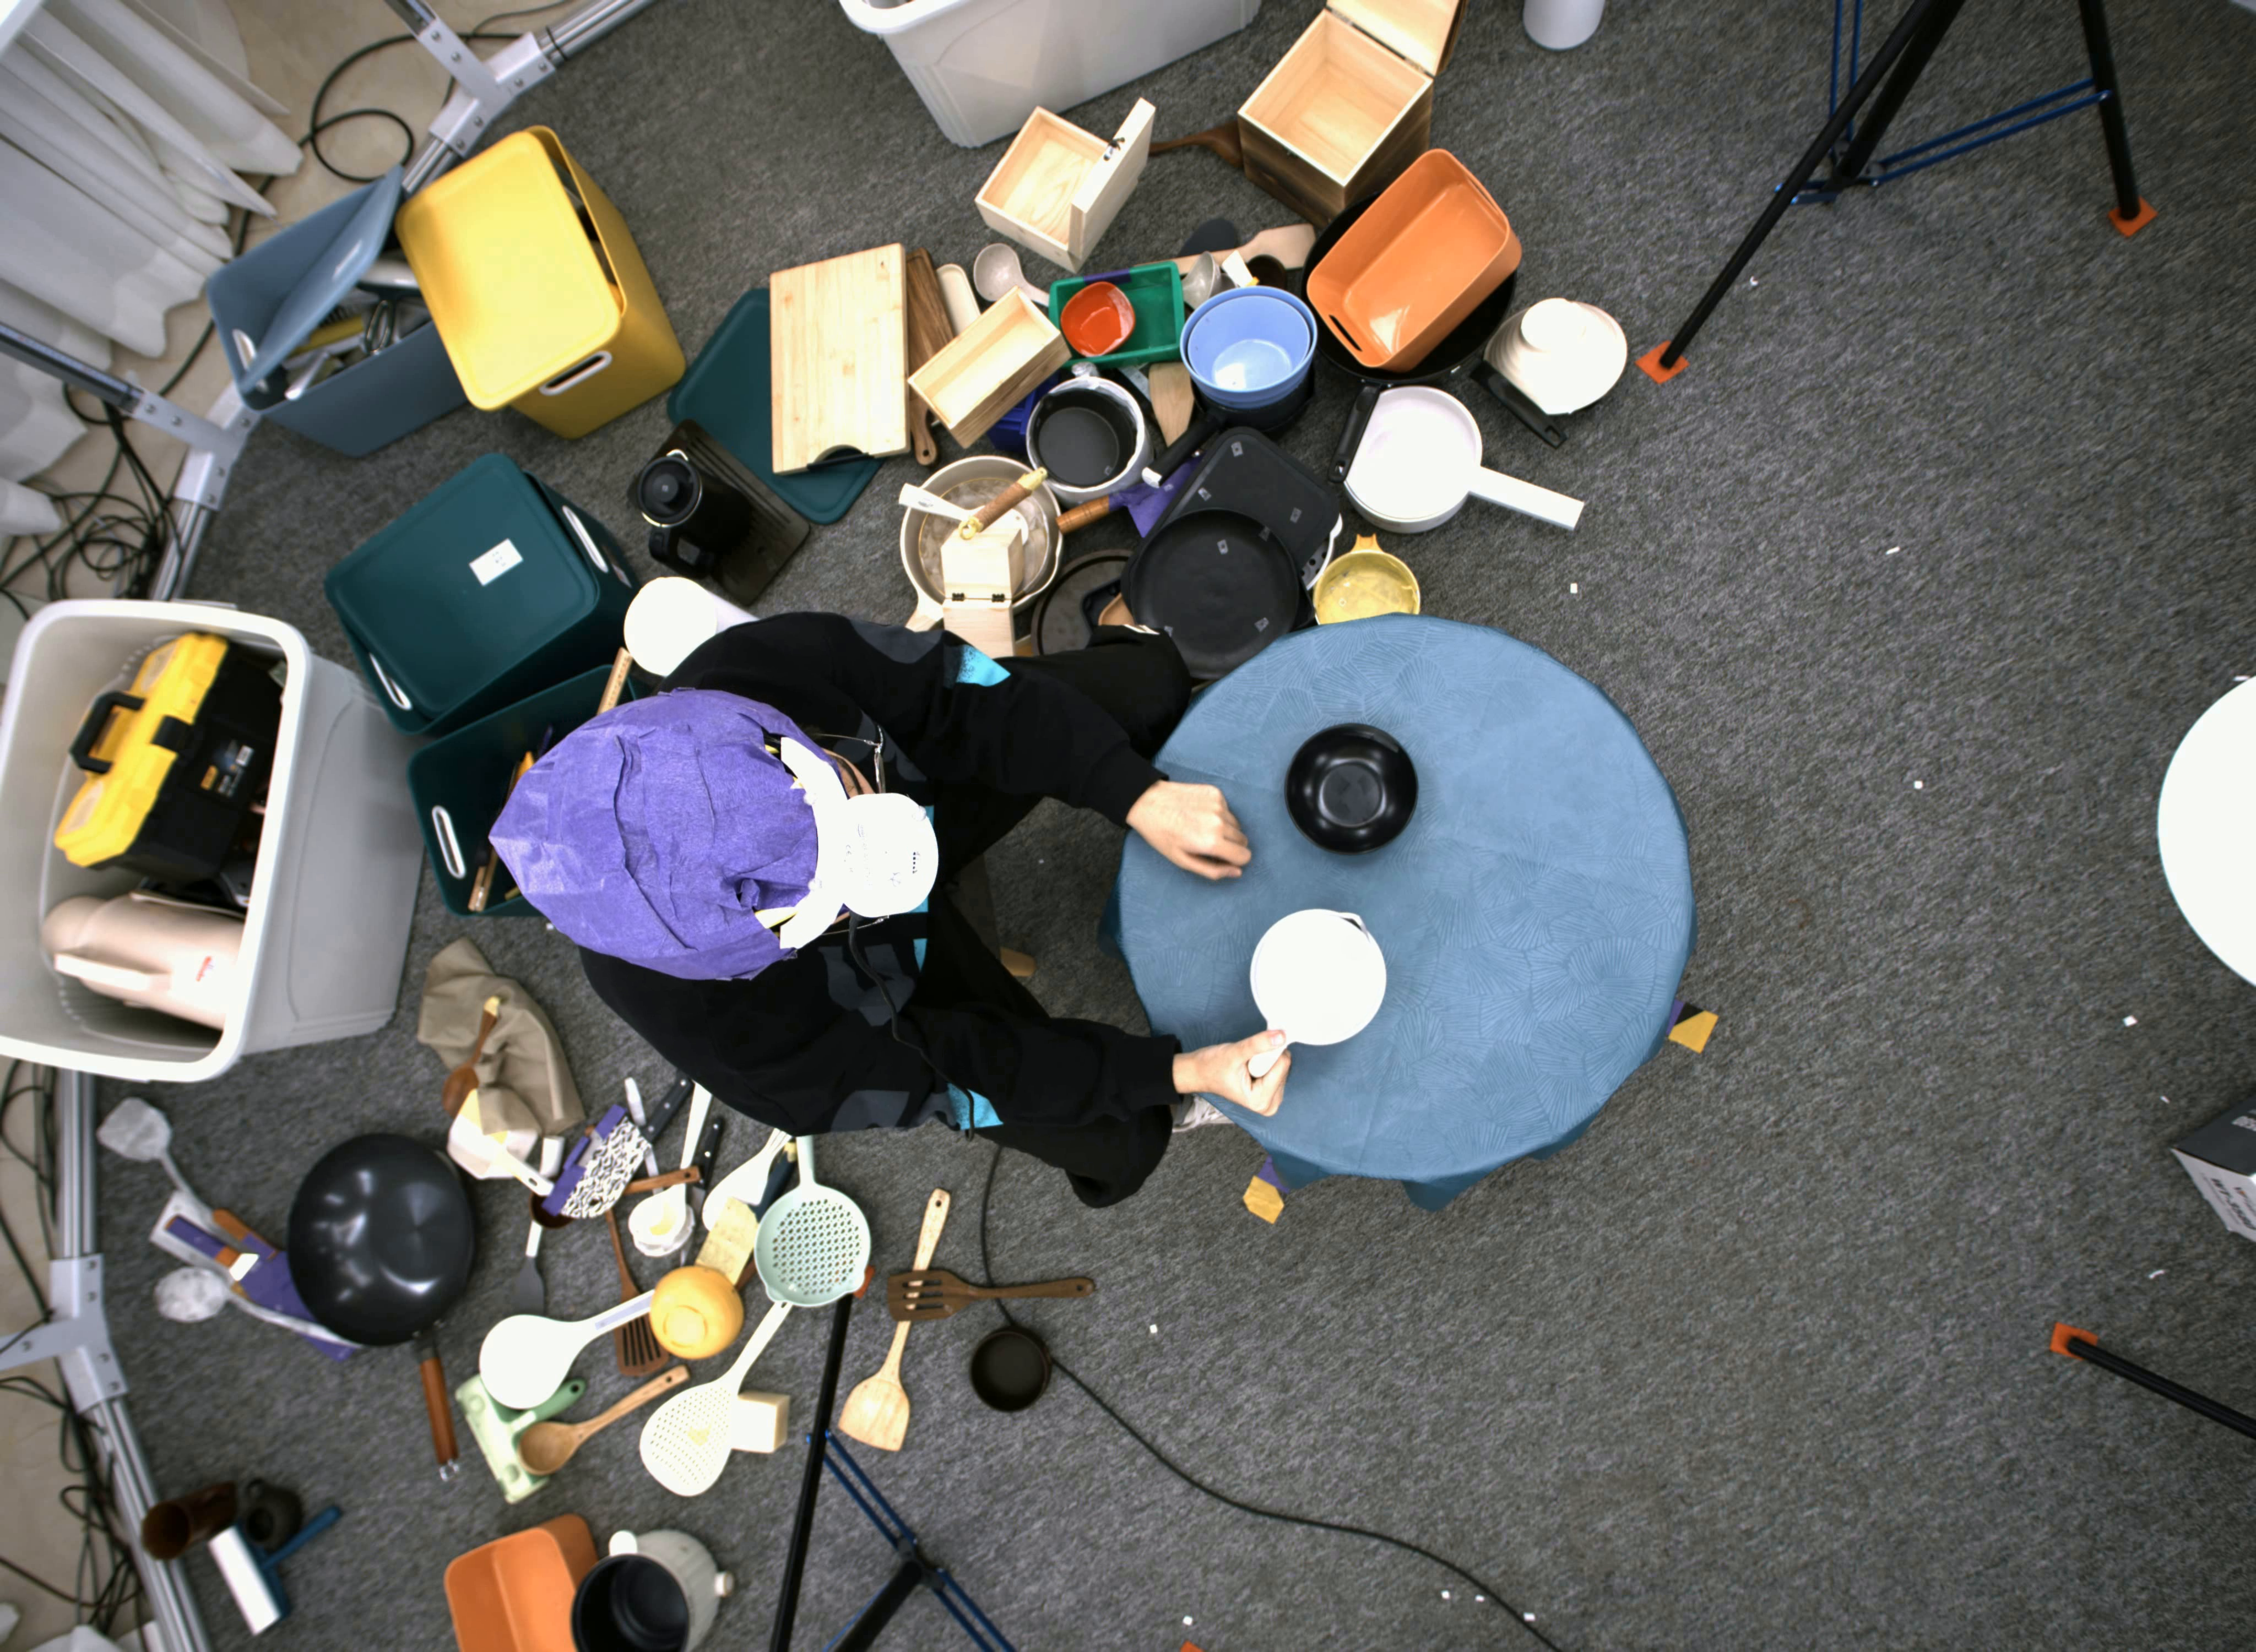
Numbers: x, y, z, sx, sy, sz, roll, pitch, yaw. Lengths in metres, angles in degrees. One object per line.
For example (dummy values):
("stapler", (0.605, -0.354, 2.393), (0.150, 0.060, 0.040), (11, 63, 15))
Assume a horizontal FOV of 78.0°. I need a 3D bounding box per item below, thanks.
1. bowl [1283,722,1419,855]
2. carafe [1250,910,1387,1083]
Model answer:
("bowl", (0.234, -0.039, 1.443), (0.140, 0.050, 0.139), (-1, 88, 12))
("carafe", (0.177, 0.171, 1.379), (0.132, 0.182, 0.191), (32, 93, 11))
